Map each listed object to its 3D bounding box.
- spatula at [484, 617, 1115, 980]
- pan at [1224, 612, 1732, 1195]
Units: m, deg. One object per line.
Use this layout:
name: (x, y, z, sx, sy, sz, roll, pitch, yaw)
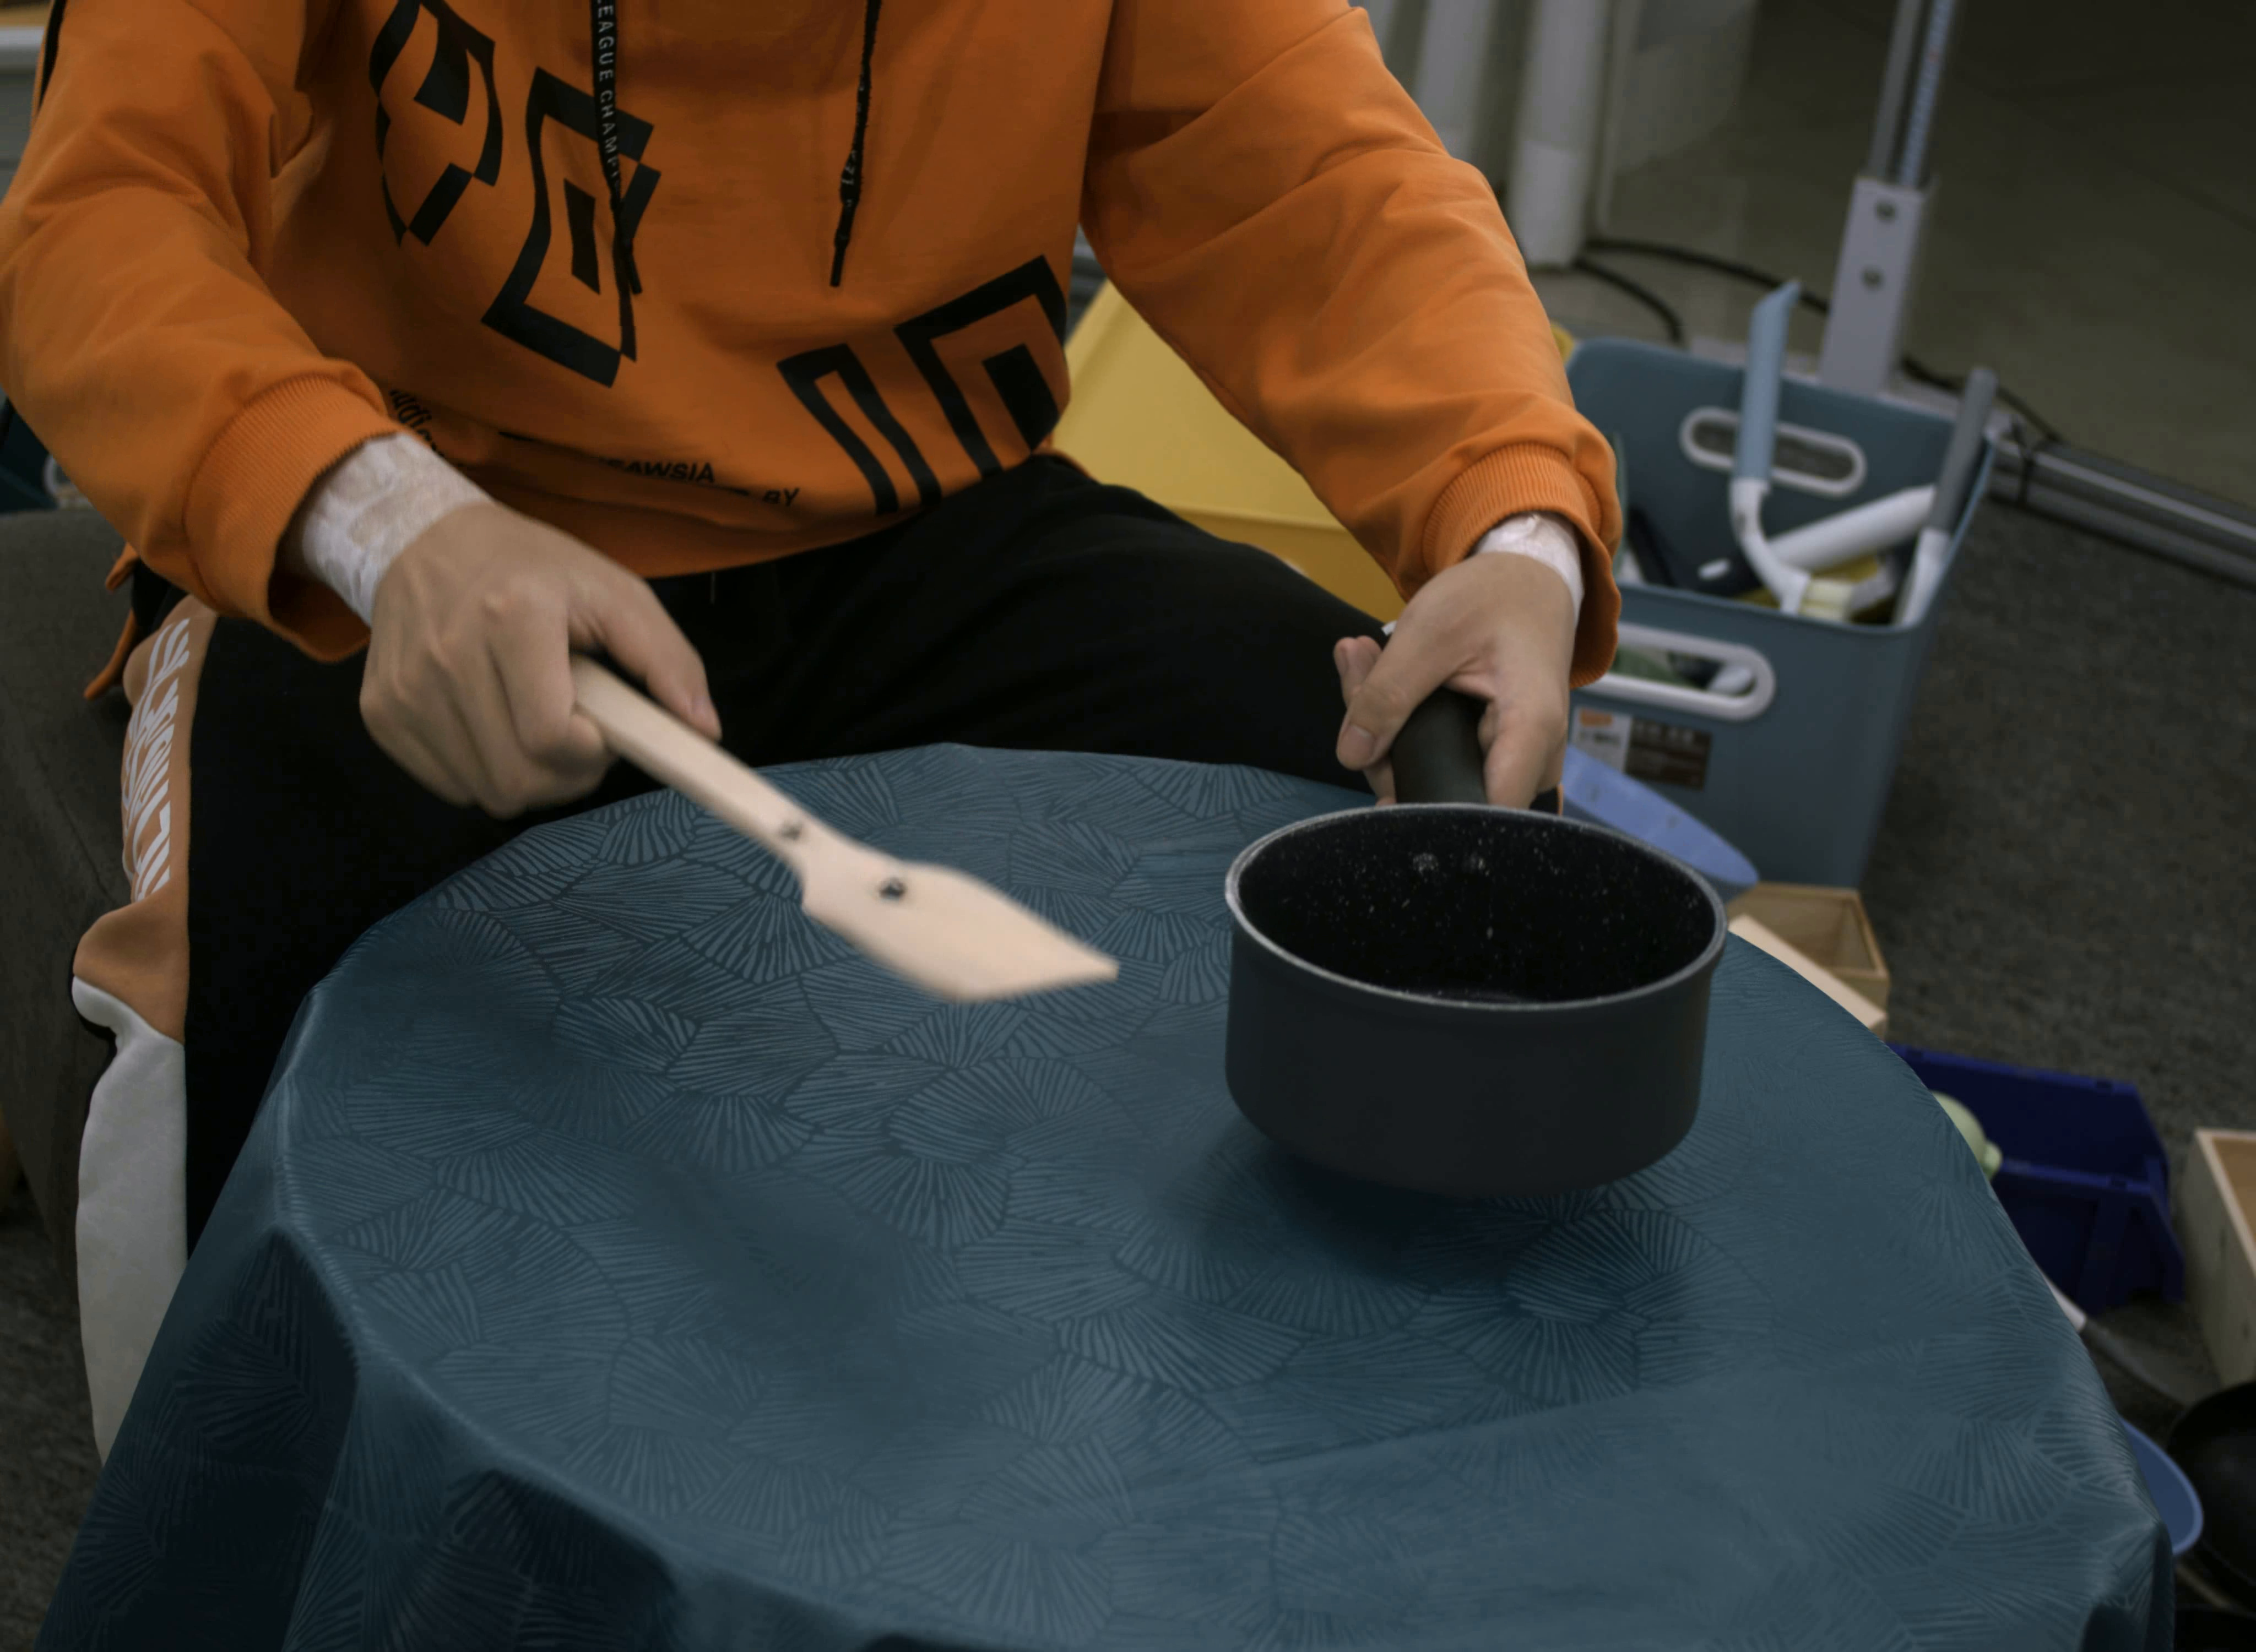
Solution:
spatula: (-0.124, -0.012, 1.781, 0.072, 0.010, 0.295, -10, 30, -42)
pan: (0.117, 0.024, 1.881, 0.171, 0.086, 0.330, 3, 24, 0)
